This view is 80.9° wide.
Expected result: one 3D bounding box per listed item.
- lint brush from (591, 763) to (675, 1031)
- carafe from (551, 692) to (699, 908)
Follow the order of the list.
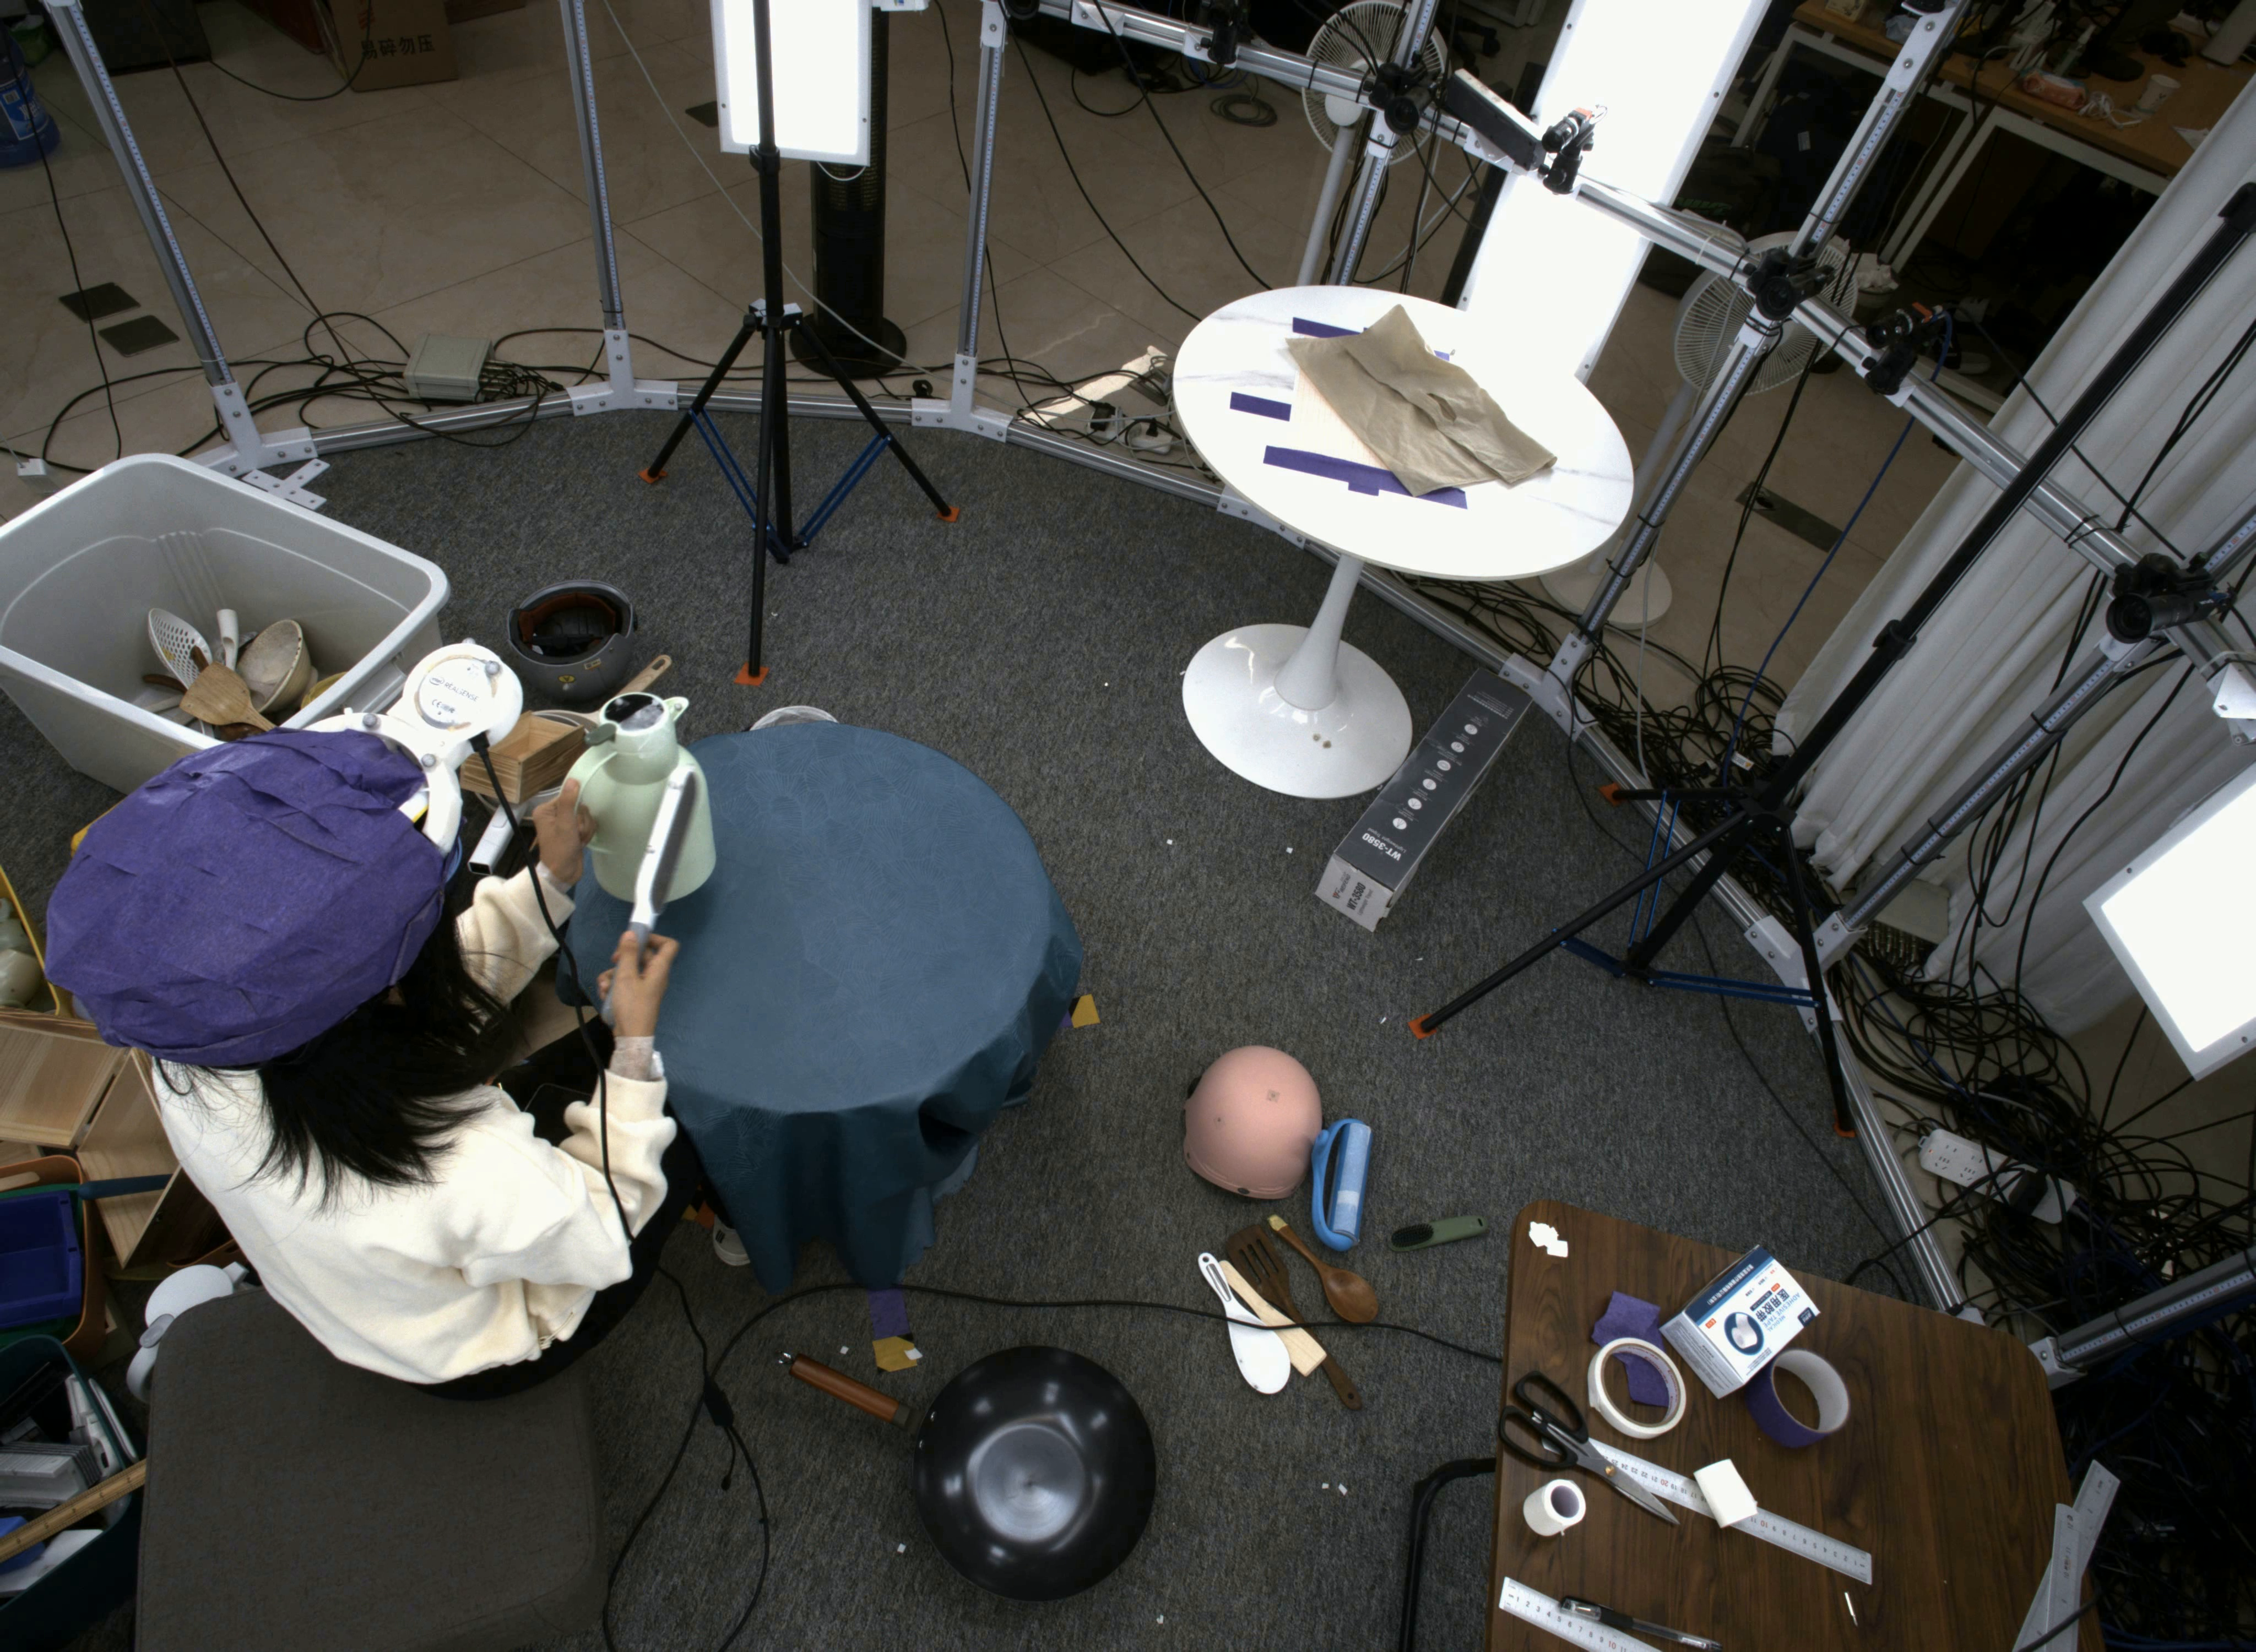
[{"bbox_3d":[-0.522,0.067,1.348,0.021,0.061,0.305,5,61,-1],"label":"lint brush"},{"bbox_3d":[-0.589,-0.028,1.472,0.141,0.263,0.186,29,51,16],"label":"carafe"}]
